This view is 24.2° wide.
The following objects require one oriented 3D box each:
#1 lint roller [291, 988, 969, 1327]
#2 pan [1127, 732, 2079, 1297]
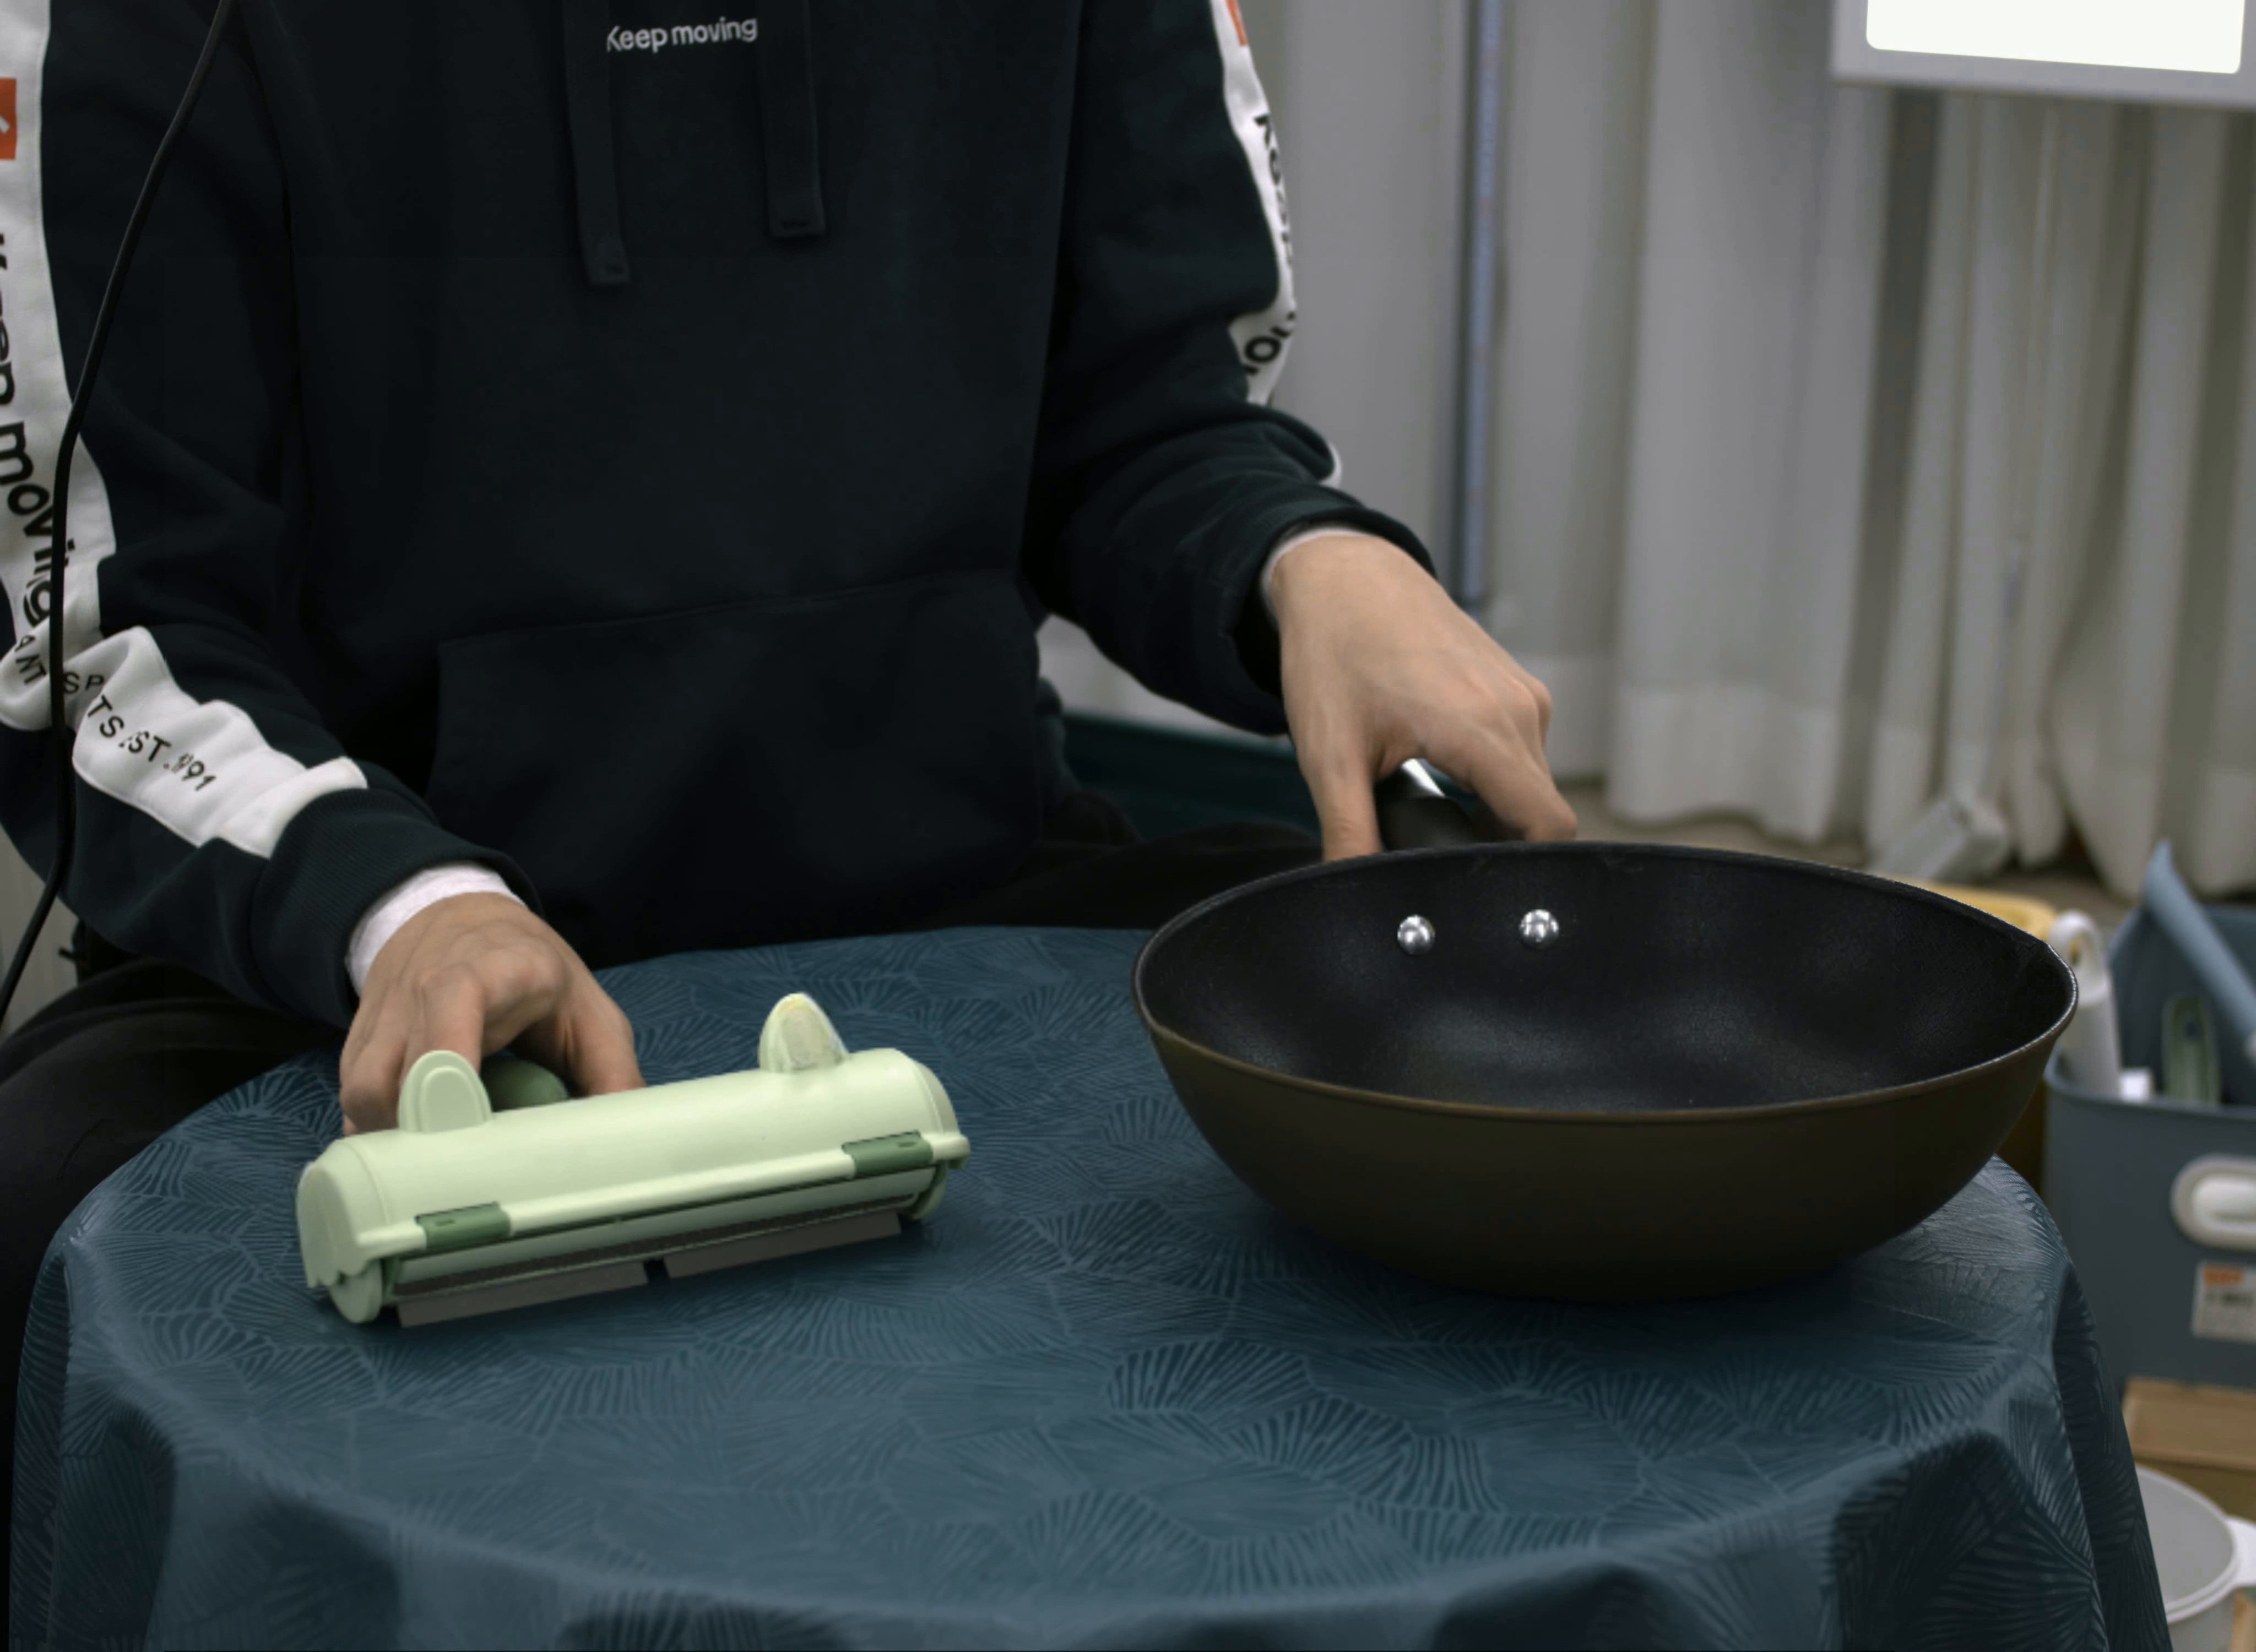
[{"bbox_3d":[-0.172,0.080,1.587,0.199,0.083,0.181,-9,23,-28],"label":"lint roller"},{"bbox_3d":[0.118,0.057,1.668,0.288,0.087,0.459,-3,15,-14],"label":"pan"}]
